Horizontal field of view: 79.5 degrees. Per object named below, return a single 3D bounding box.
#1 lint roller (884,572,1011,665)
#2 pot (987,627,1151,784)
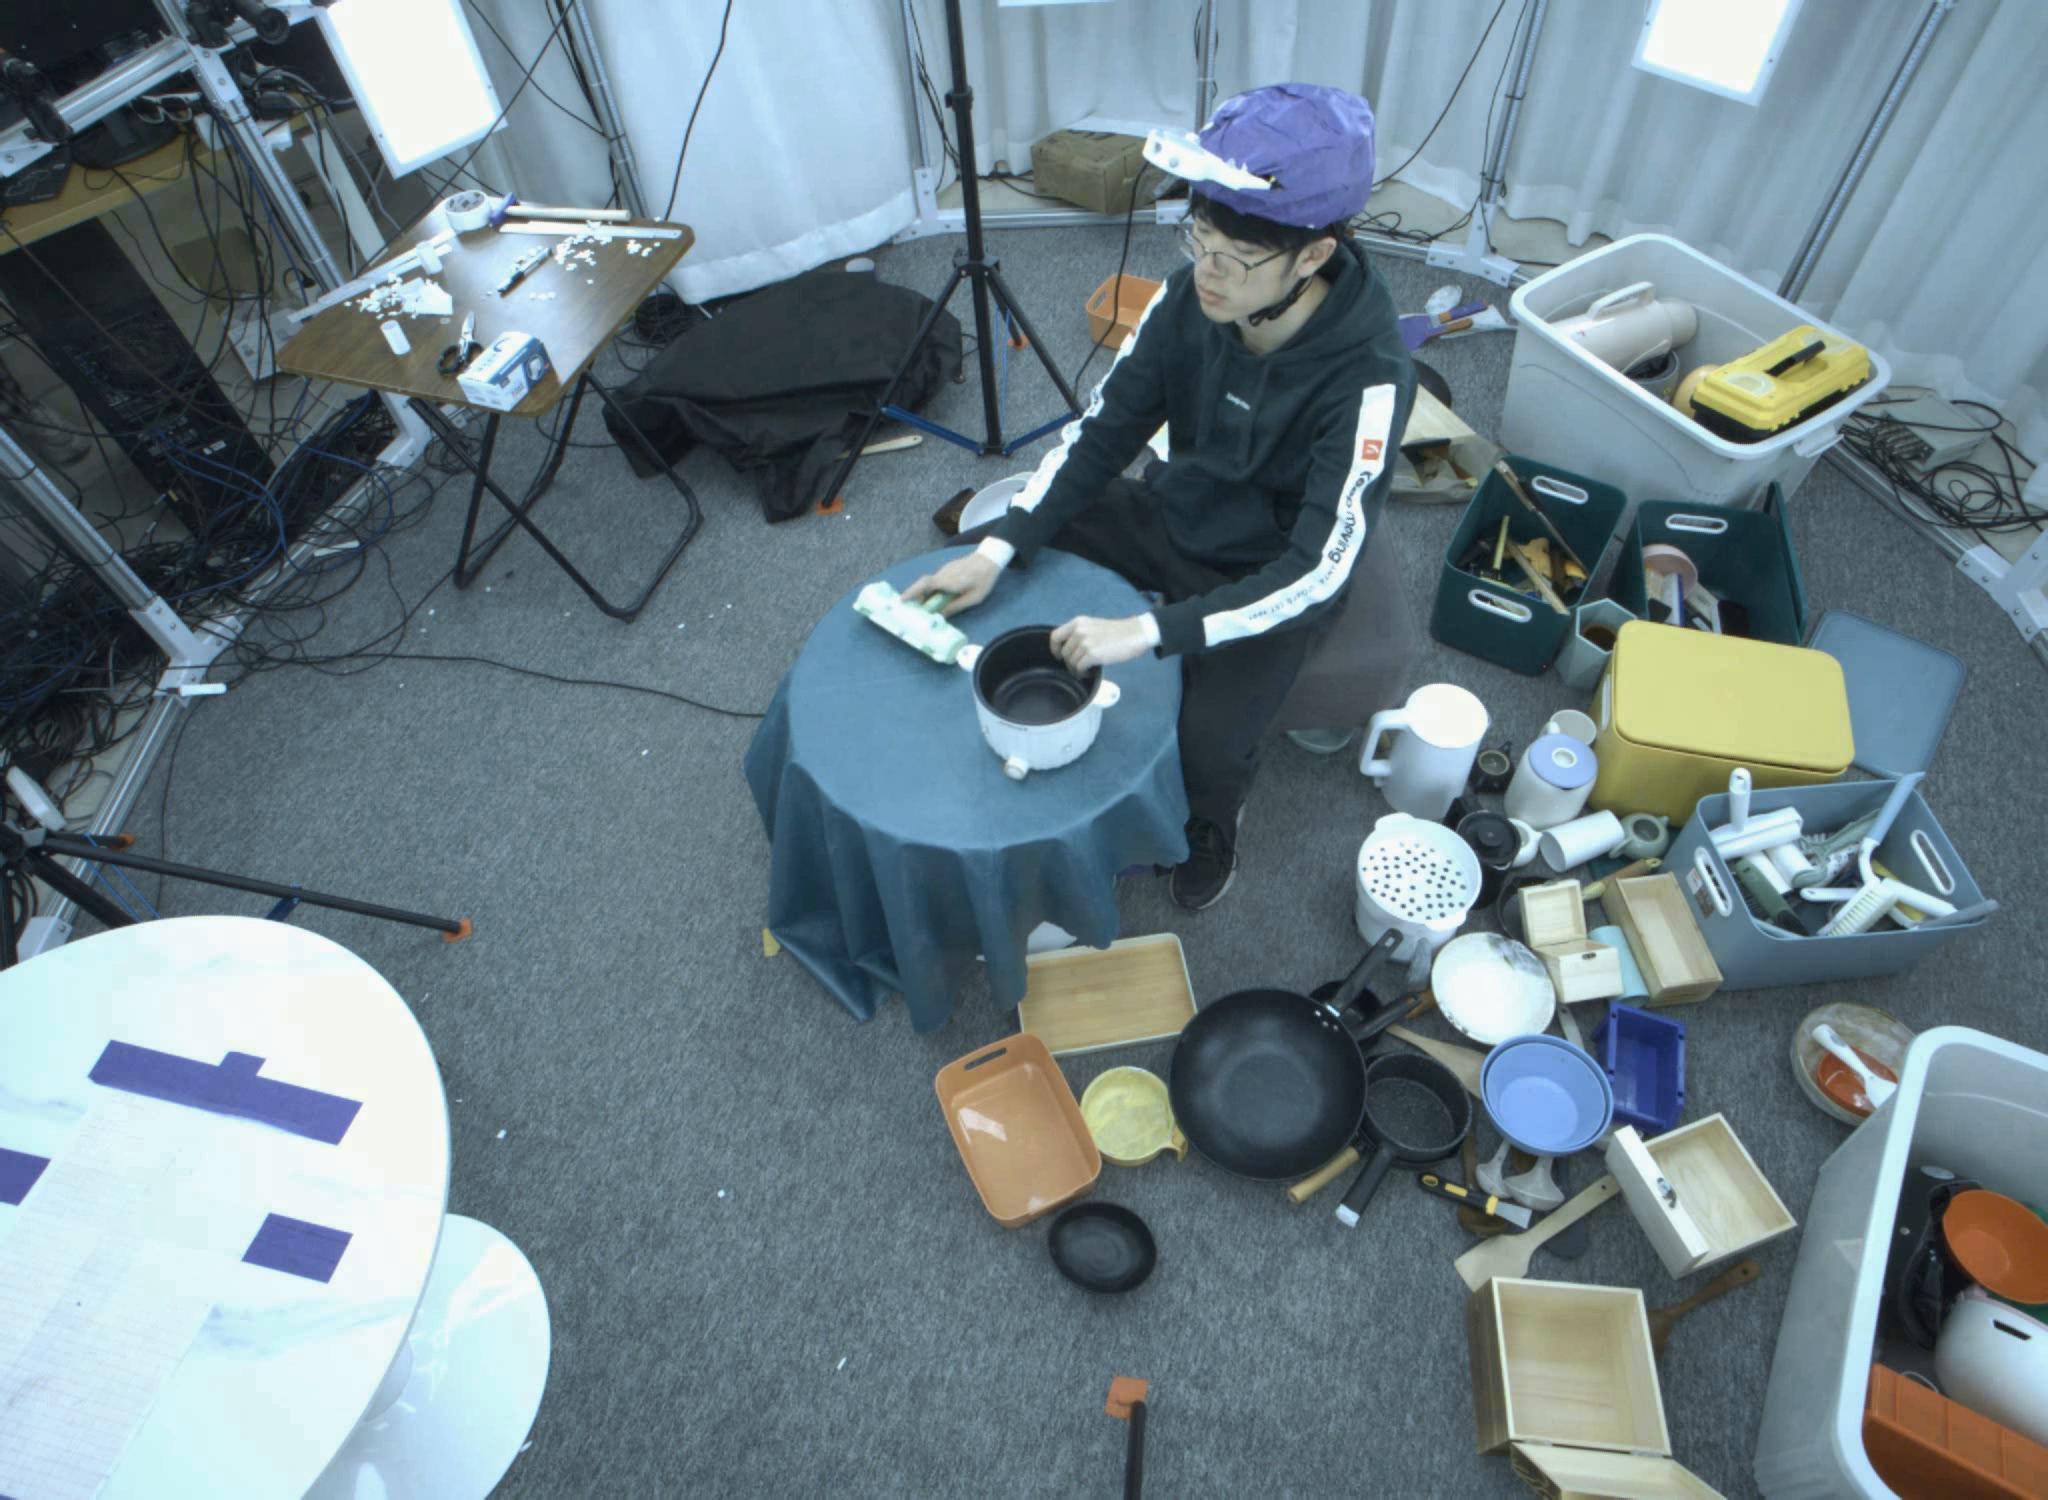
[{"bbox_3d":[-0.091,-0.236,1.903,0.195,0.083,0.184,36,69,26],"label":"lint roller"},{"bbox_3d":[0.063,-0.057,1.736,0.237,0.144,0.190,17,54,16],"label":"pot"}]
